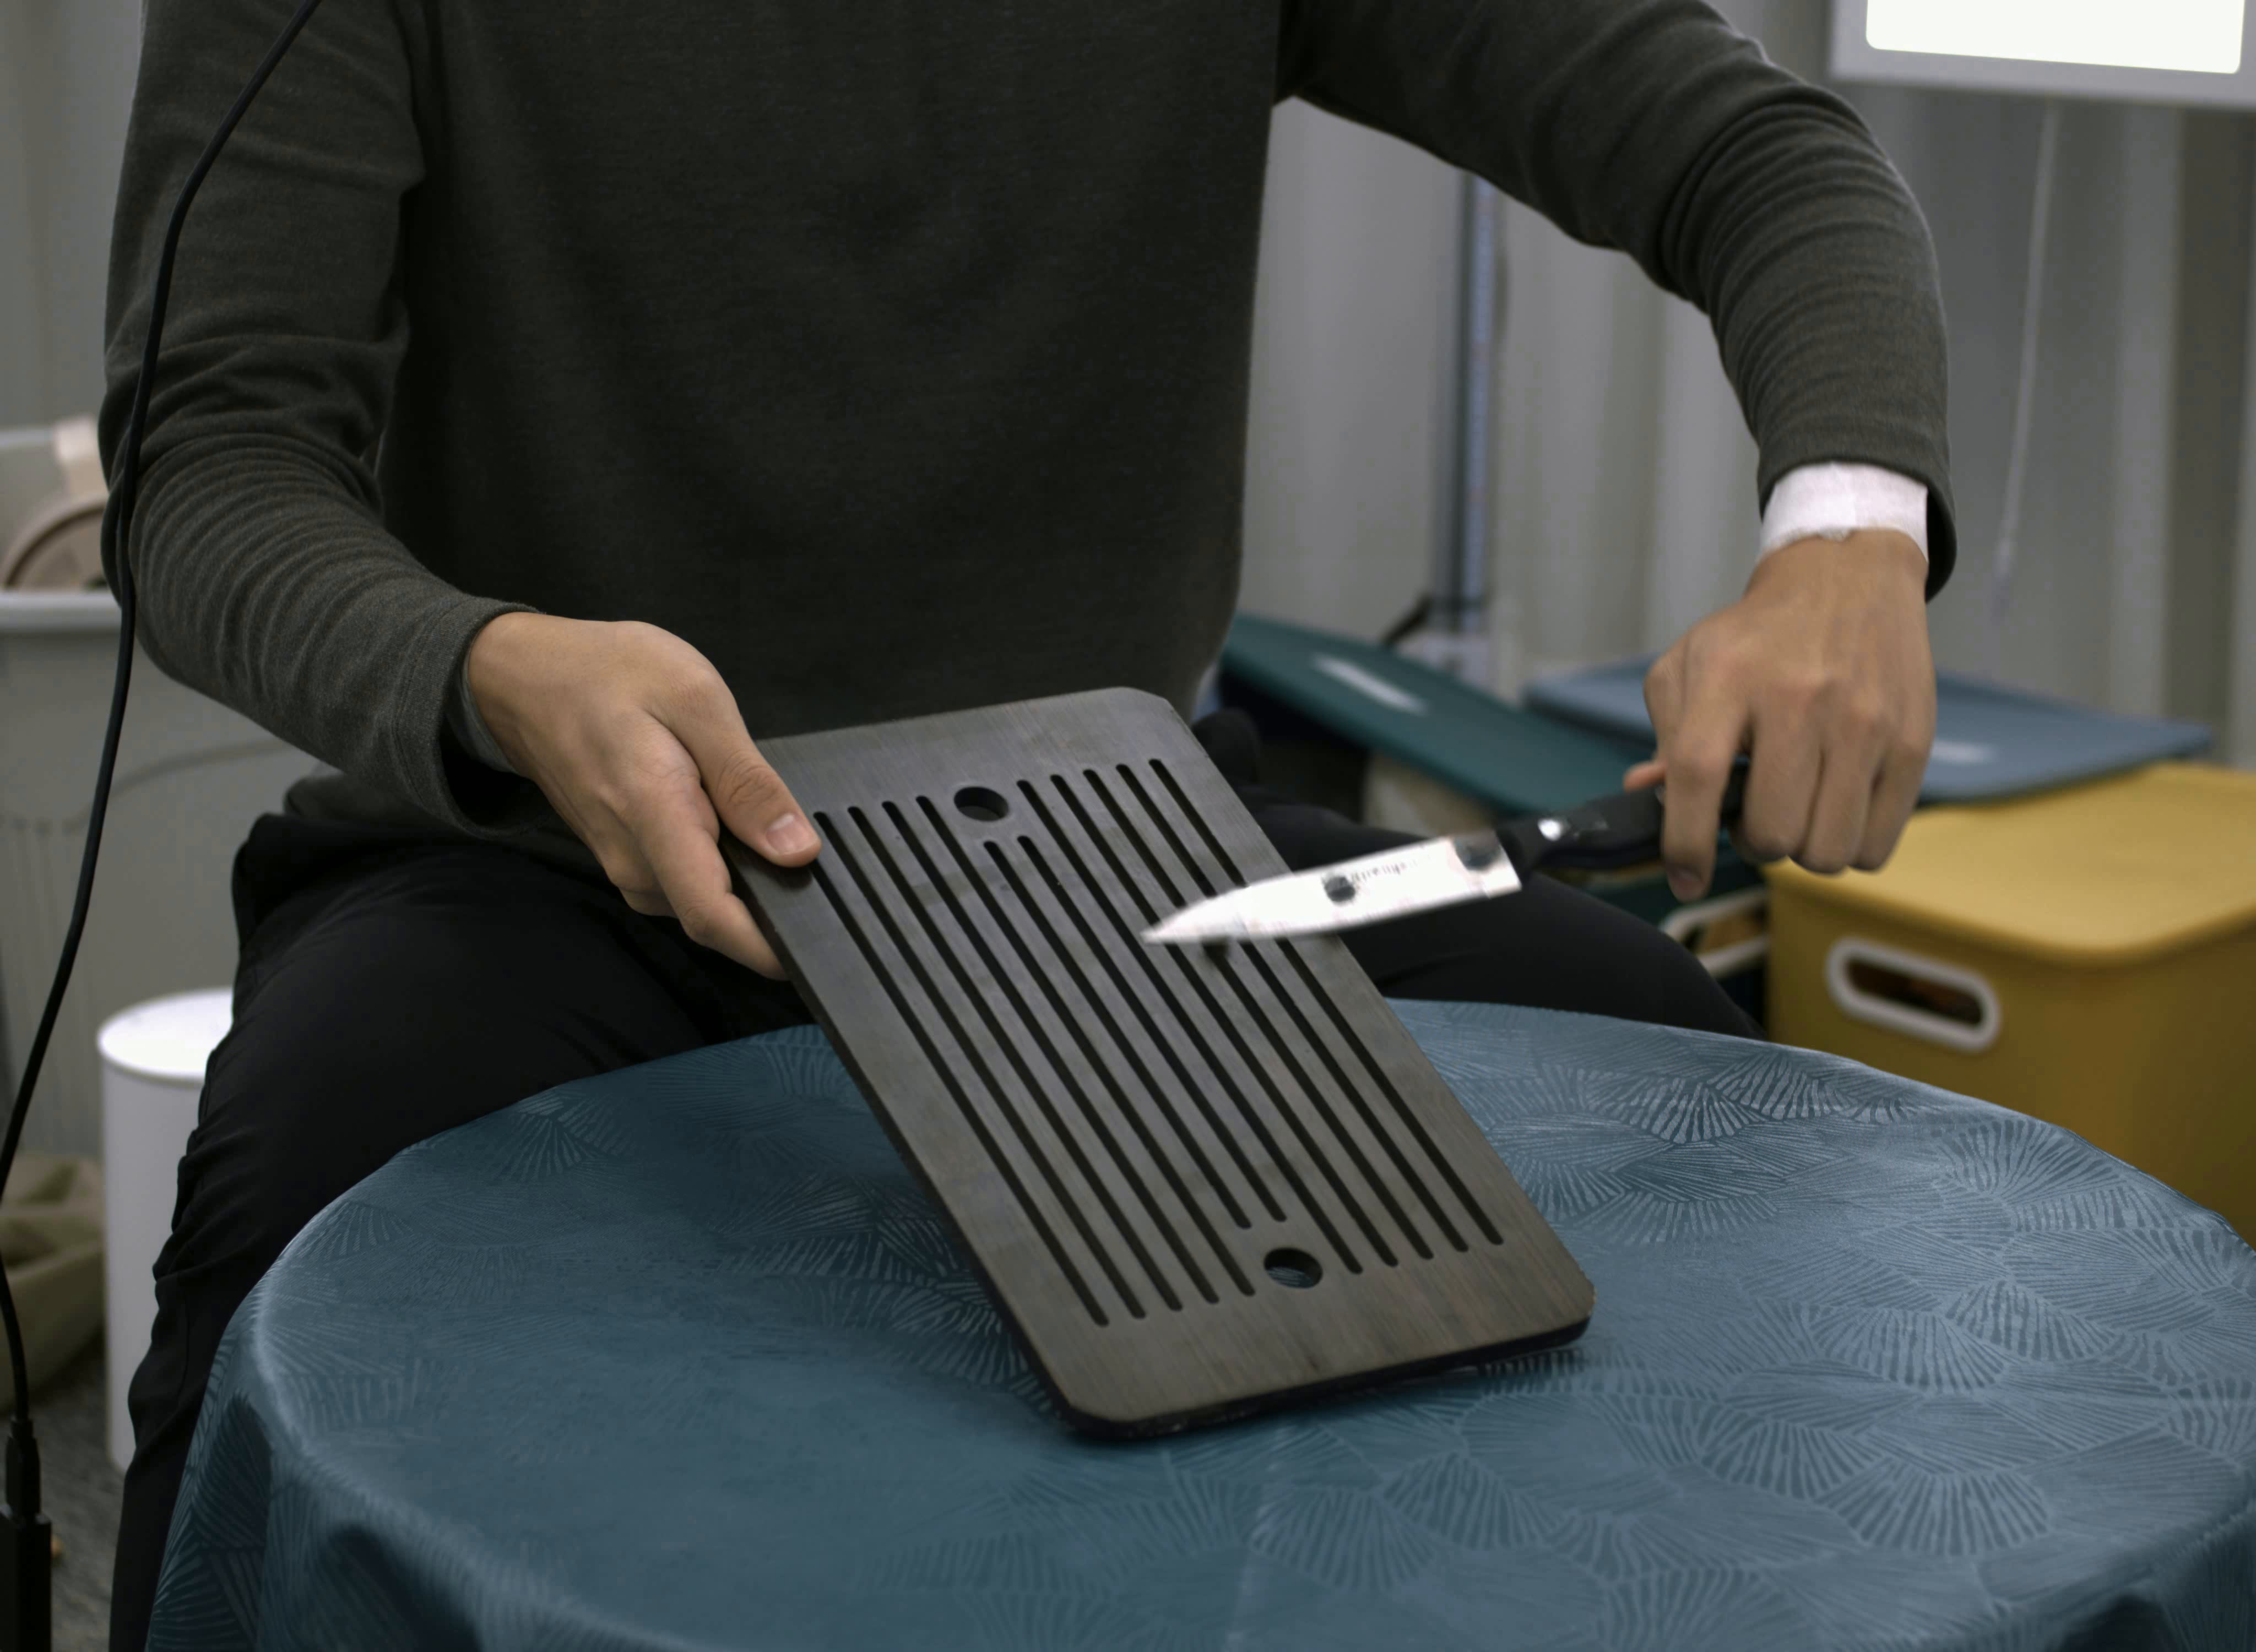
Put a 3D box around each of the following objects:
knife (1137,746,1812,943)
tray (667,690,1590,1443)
[{"bbox_3d":[0.108,0.006,1.632,0.239,0.016,0.024,-13,62,-24],"label":"knife"},{"bbox_3d":[-0.005,0.064,1.550,0.171,0.019,0.302,-9,43,-26],"label":"tray"}]
